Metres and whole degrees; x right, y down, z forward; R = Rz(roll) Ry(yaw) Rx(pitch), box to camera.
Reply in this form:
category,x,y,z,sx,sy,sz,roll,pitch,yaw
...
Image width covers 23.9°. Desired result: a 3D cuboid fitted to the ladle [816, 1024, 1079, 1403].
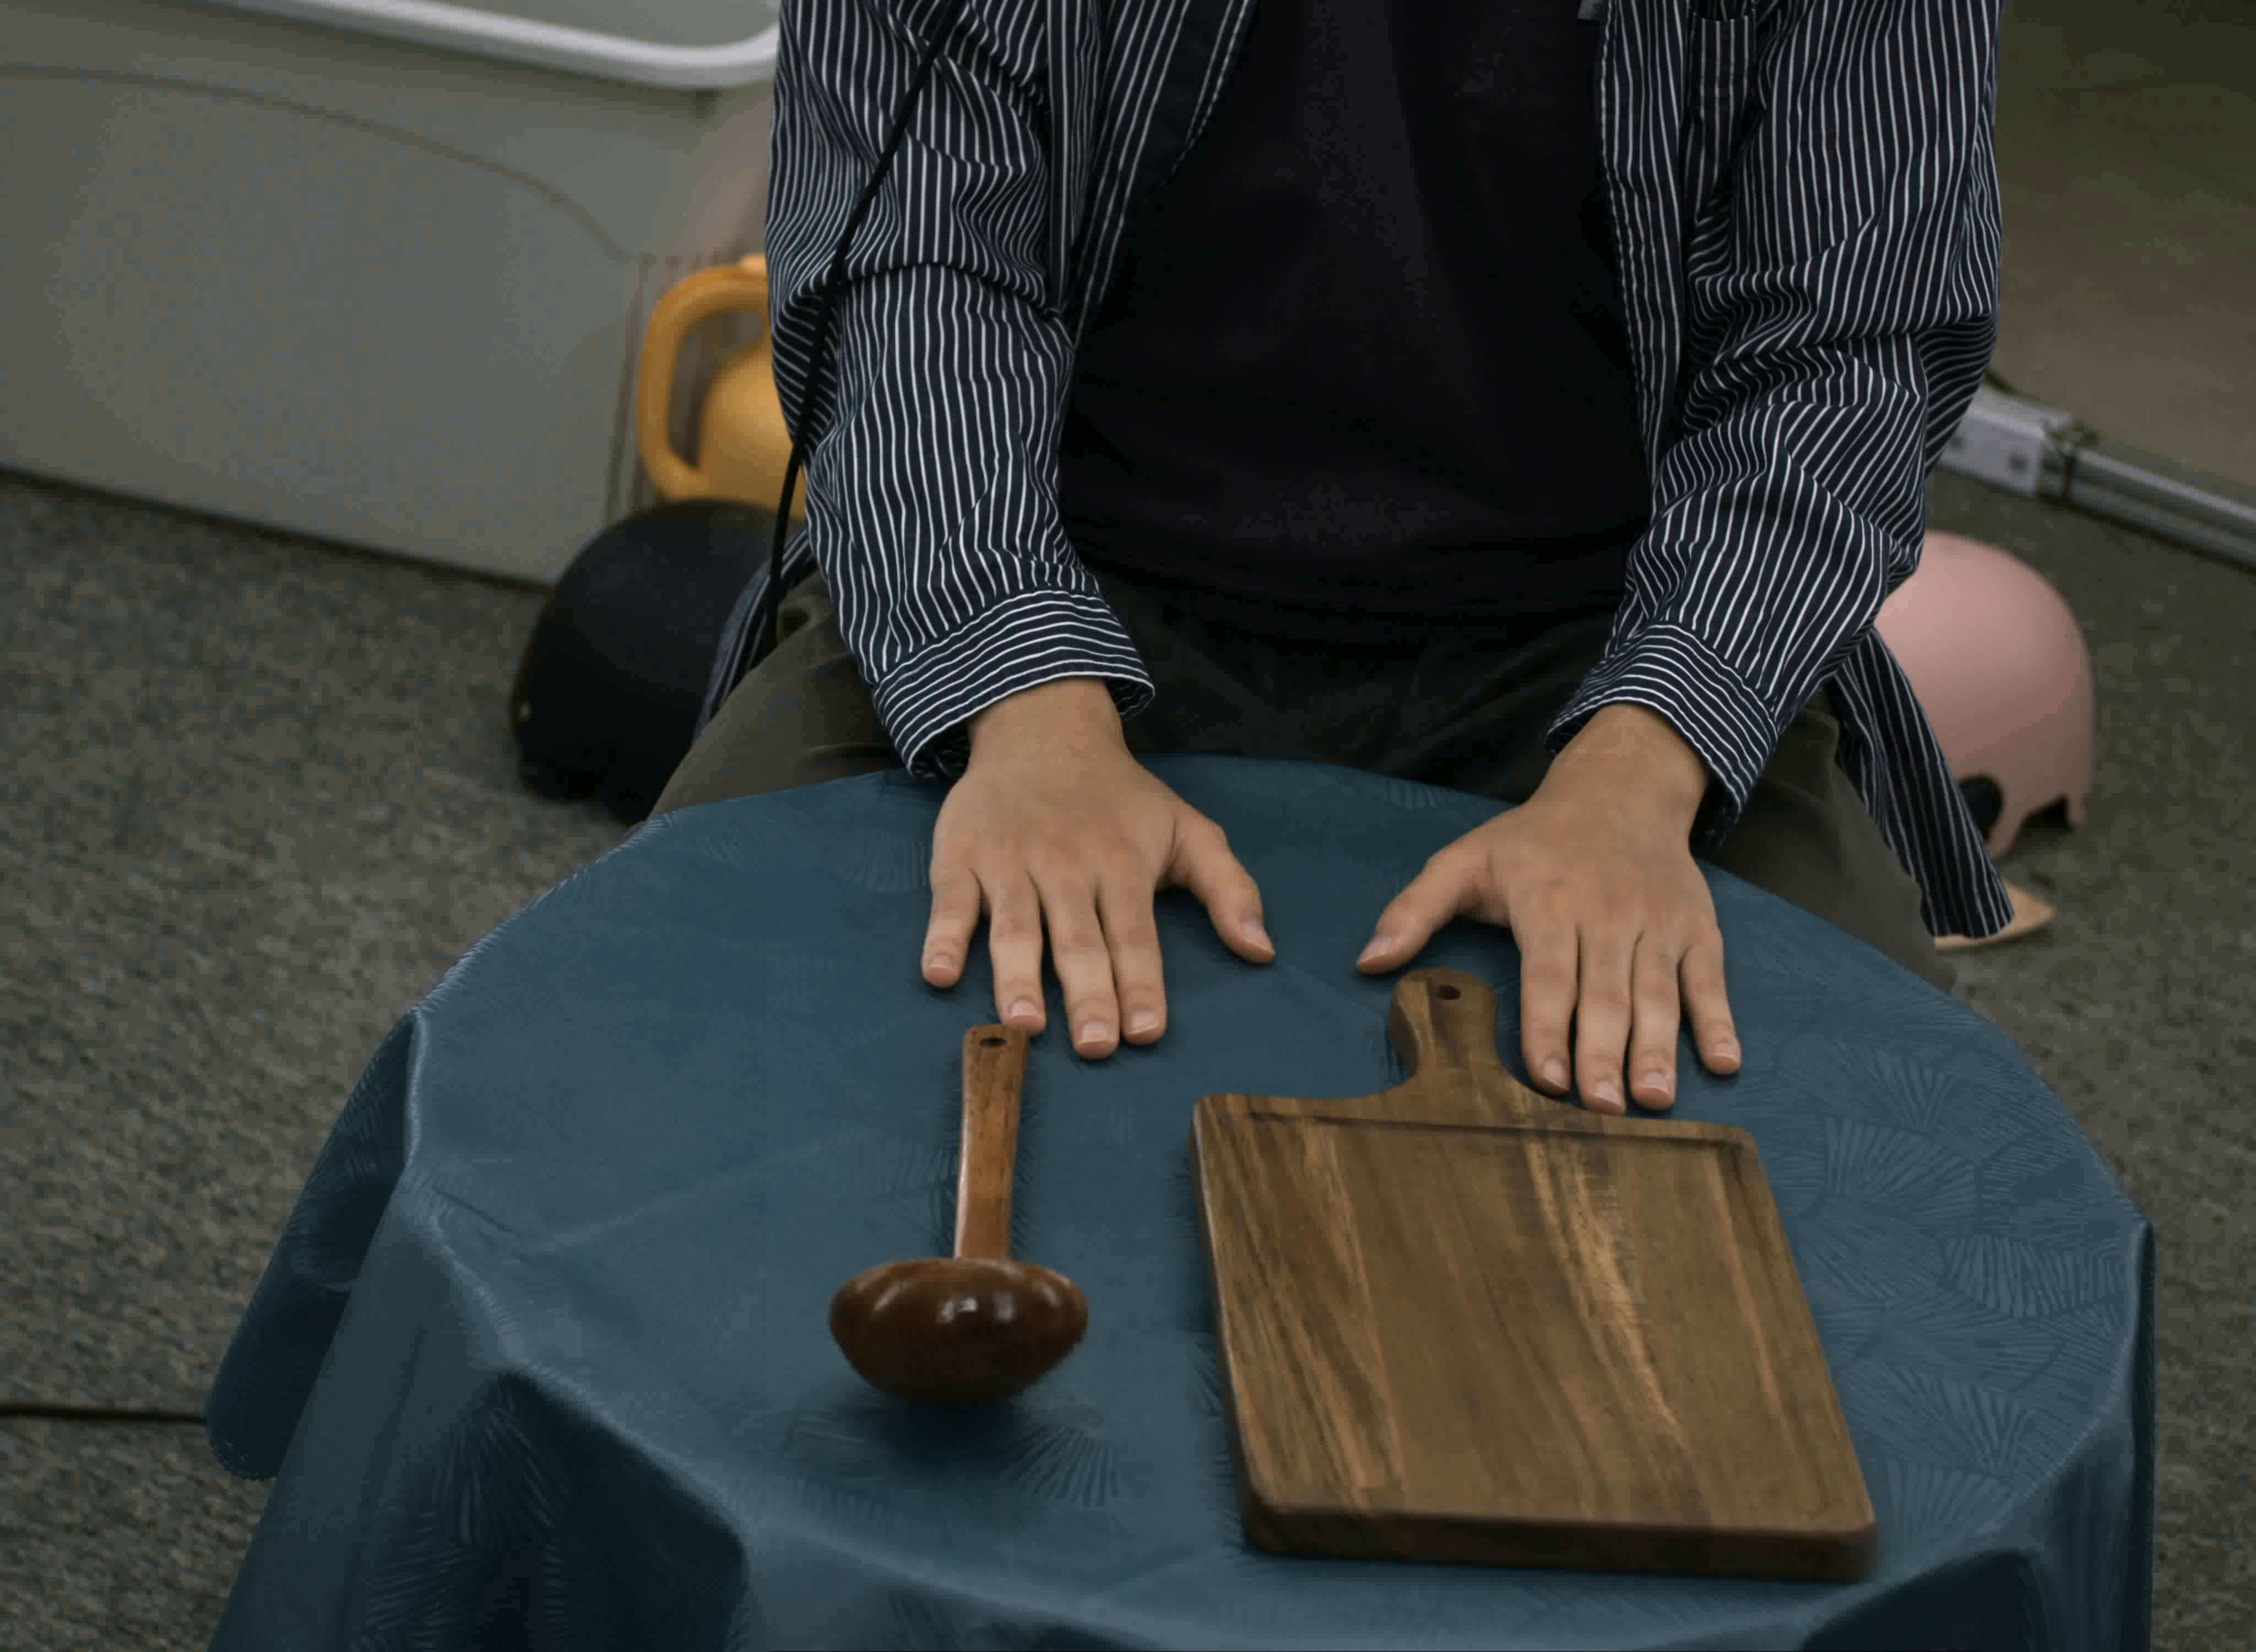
category,x,y,z,sx,sy,sz,roll,pitch,yaw
ladle,-0.050,0.106,1.738,0.082,0.076,0.275,3,27,2

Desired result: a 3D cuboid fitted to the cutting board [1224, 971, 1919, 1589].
category,x,y,z,sx,sy,sz,roll,pitch,yaw
cutting board,0.136,0.141,1.771,0.200,0.023,0.354,4,27,-5
